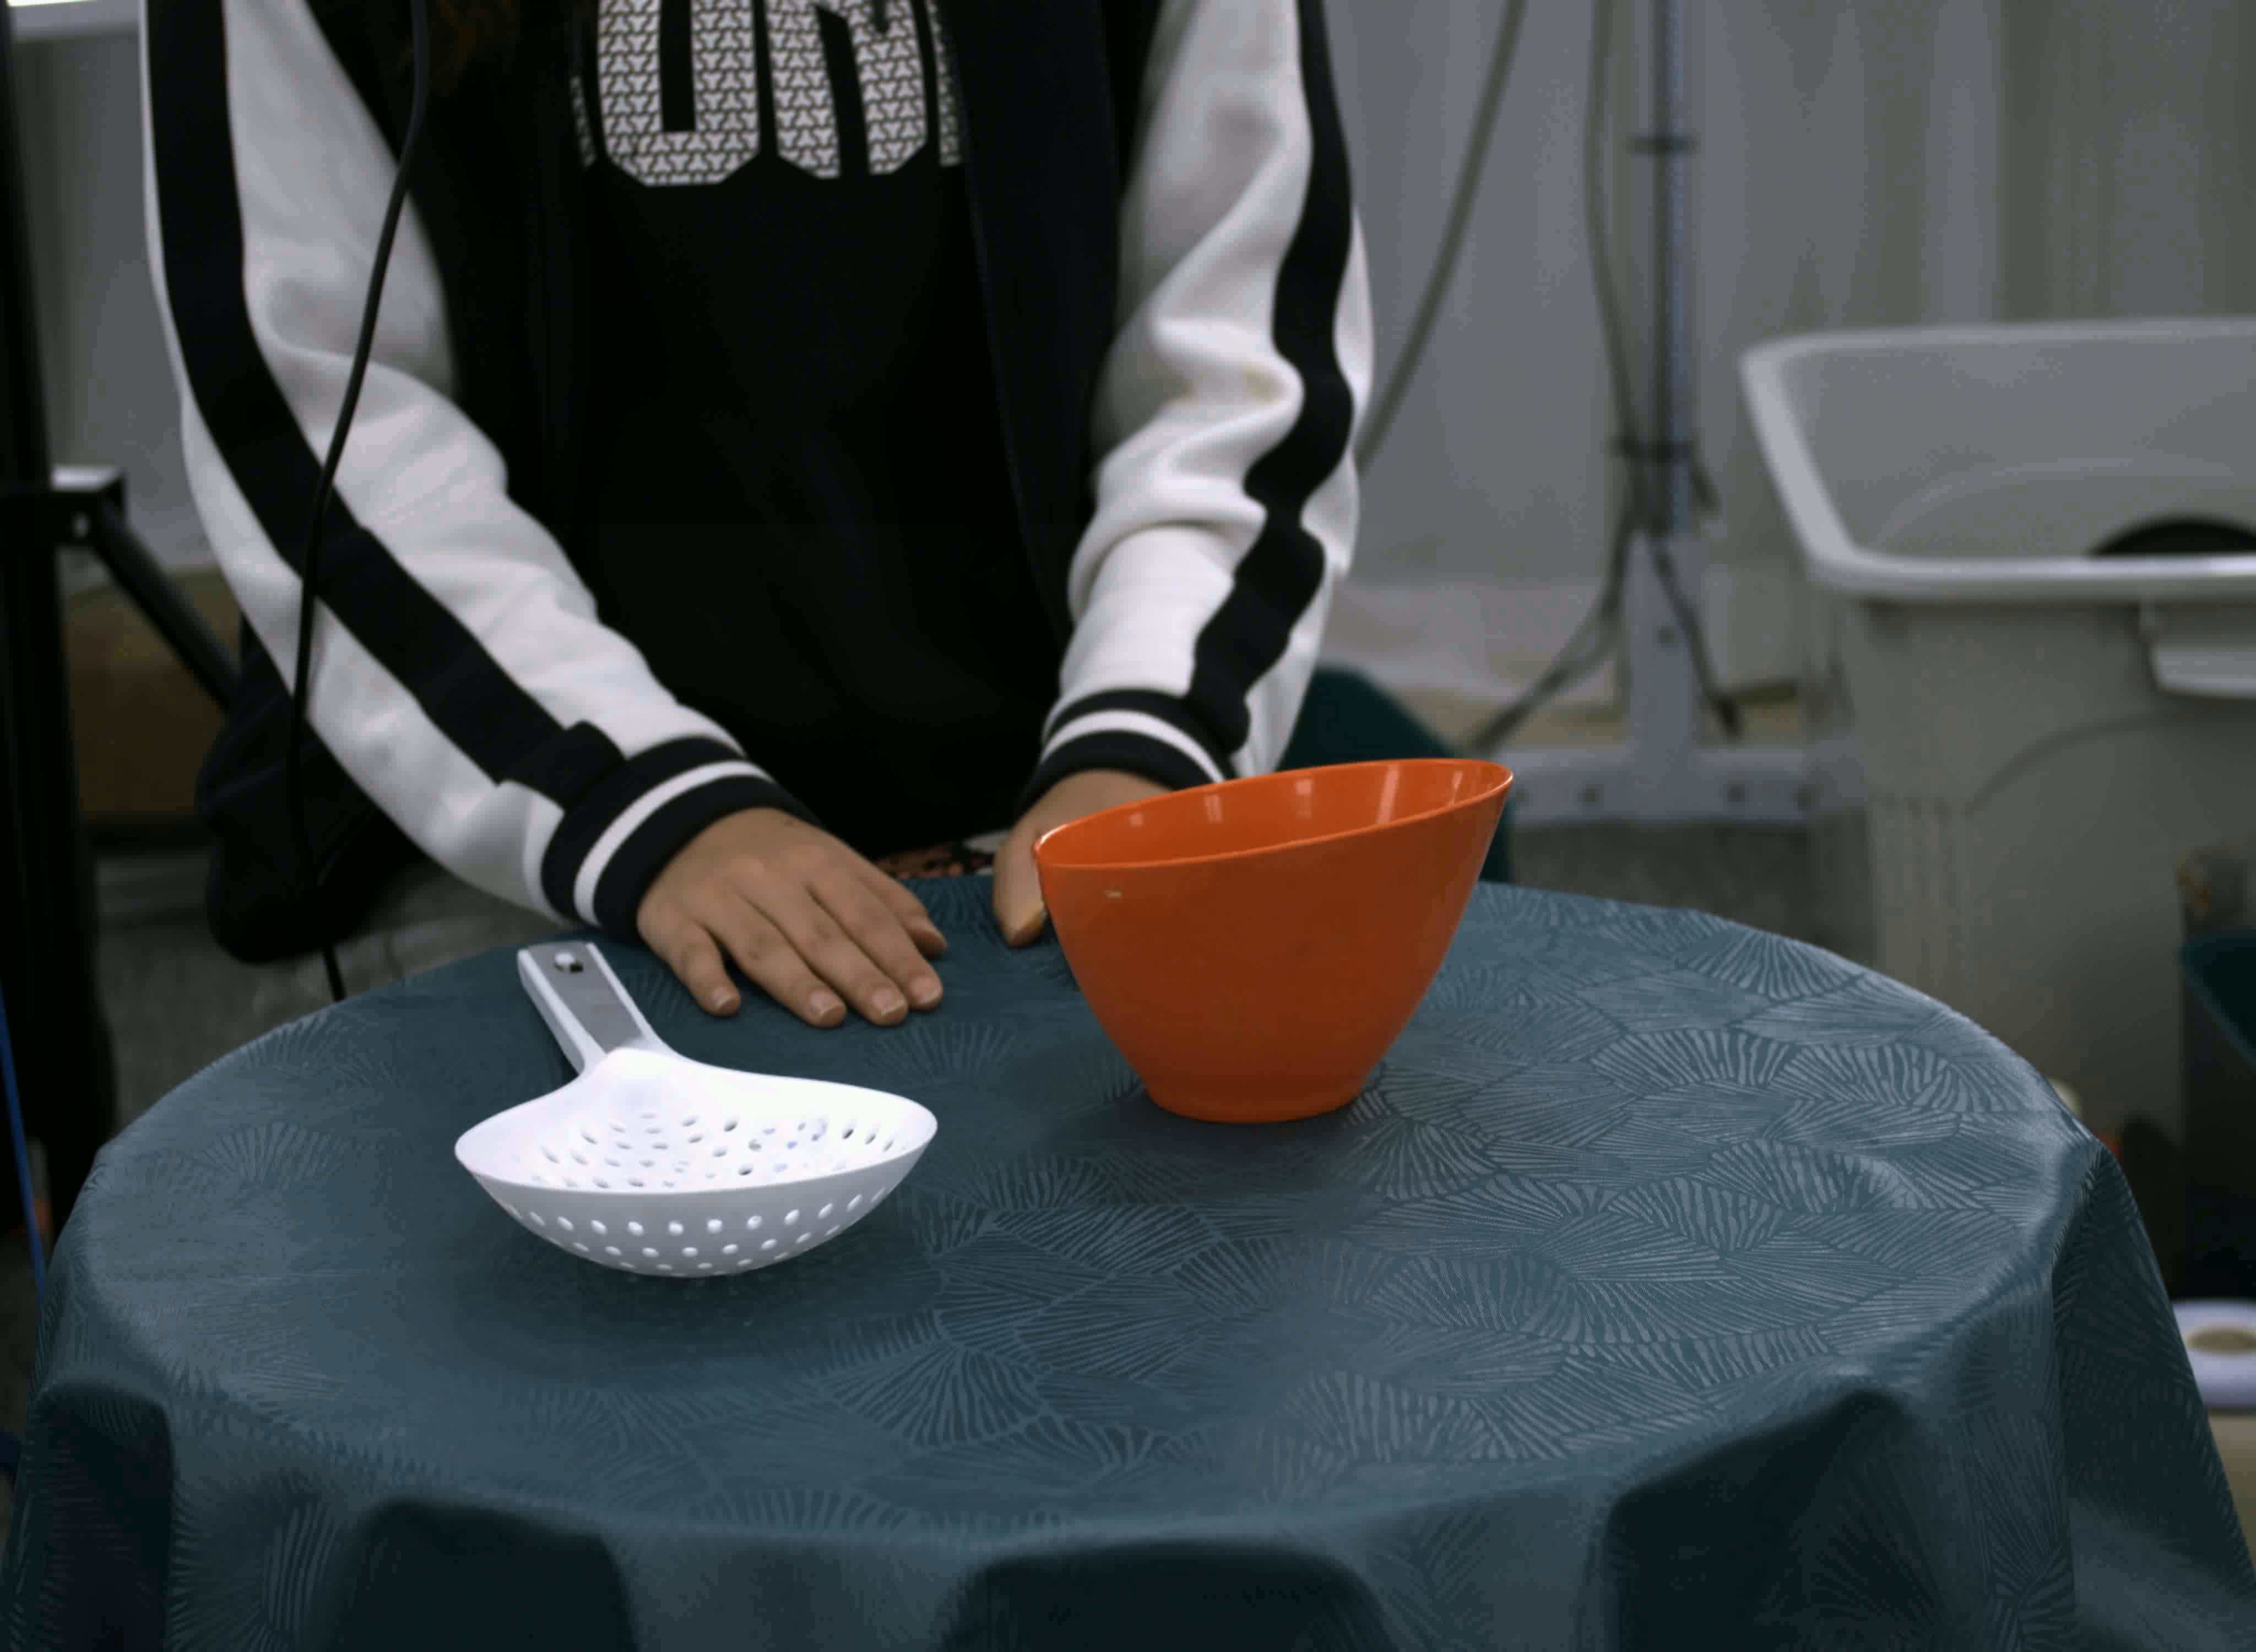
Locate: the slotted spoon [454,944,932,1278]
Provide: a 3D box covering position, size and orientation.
[{"bbox_3d":[-0.148,0.076,1.612,0.134,0.046,0.354,-4,15,-13],"label":"slotted spoon"}]

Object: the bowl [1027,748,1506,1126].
[{"bbox_3d":[0.045,0.034,1.621,0.147,0.104,0.149,-6,17,0],"label":"bowl"}]
